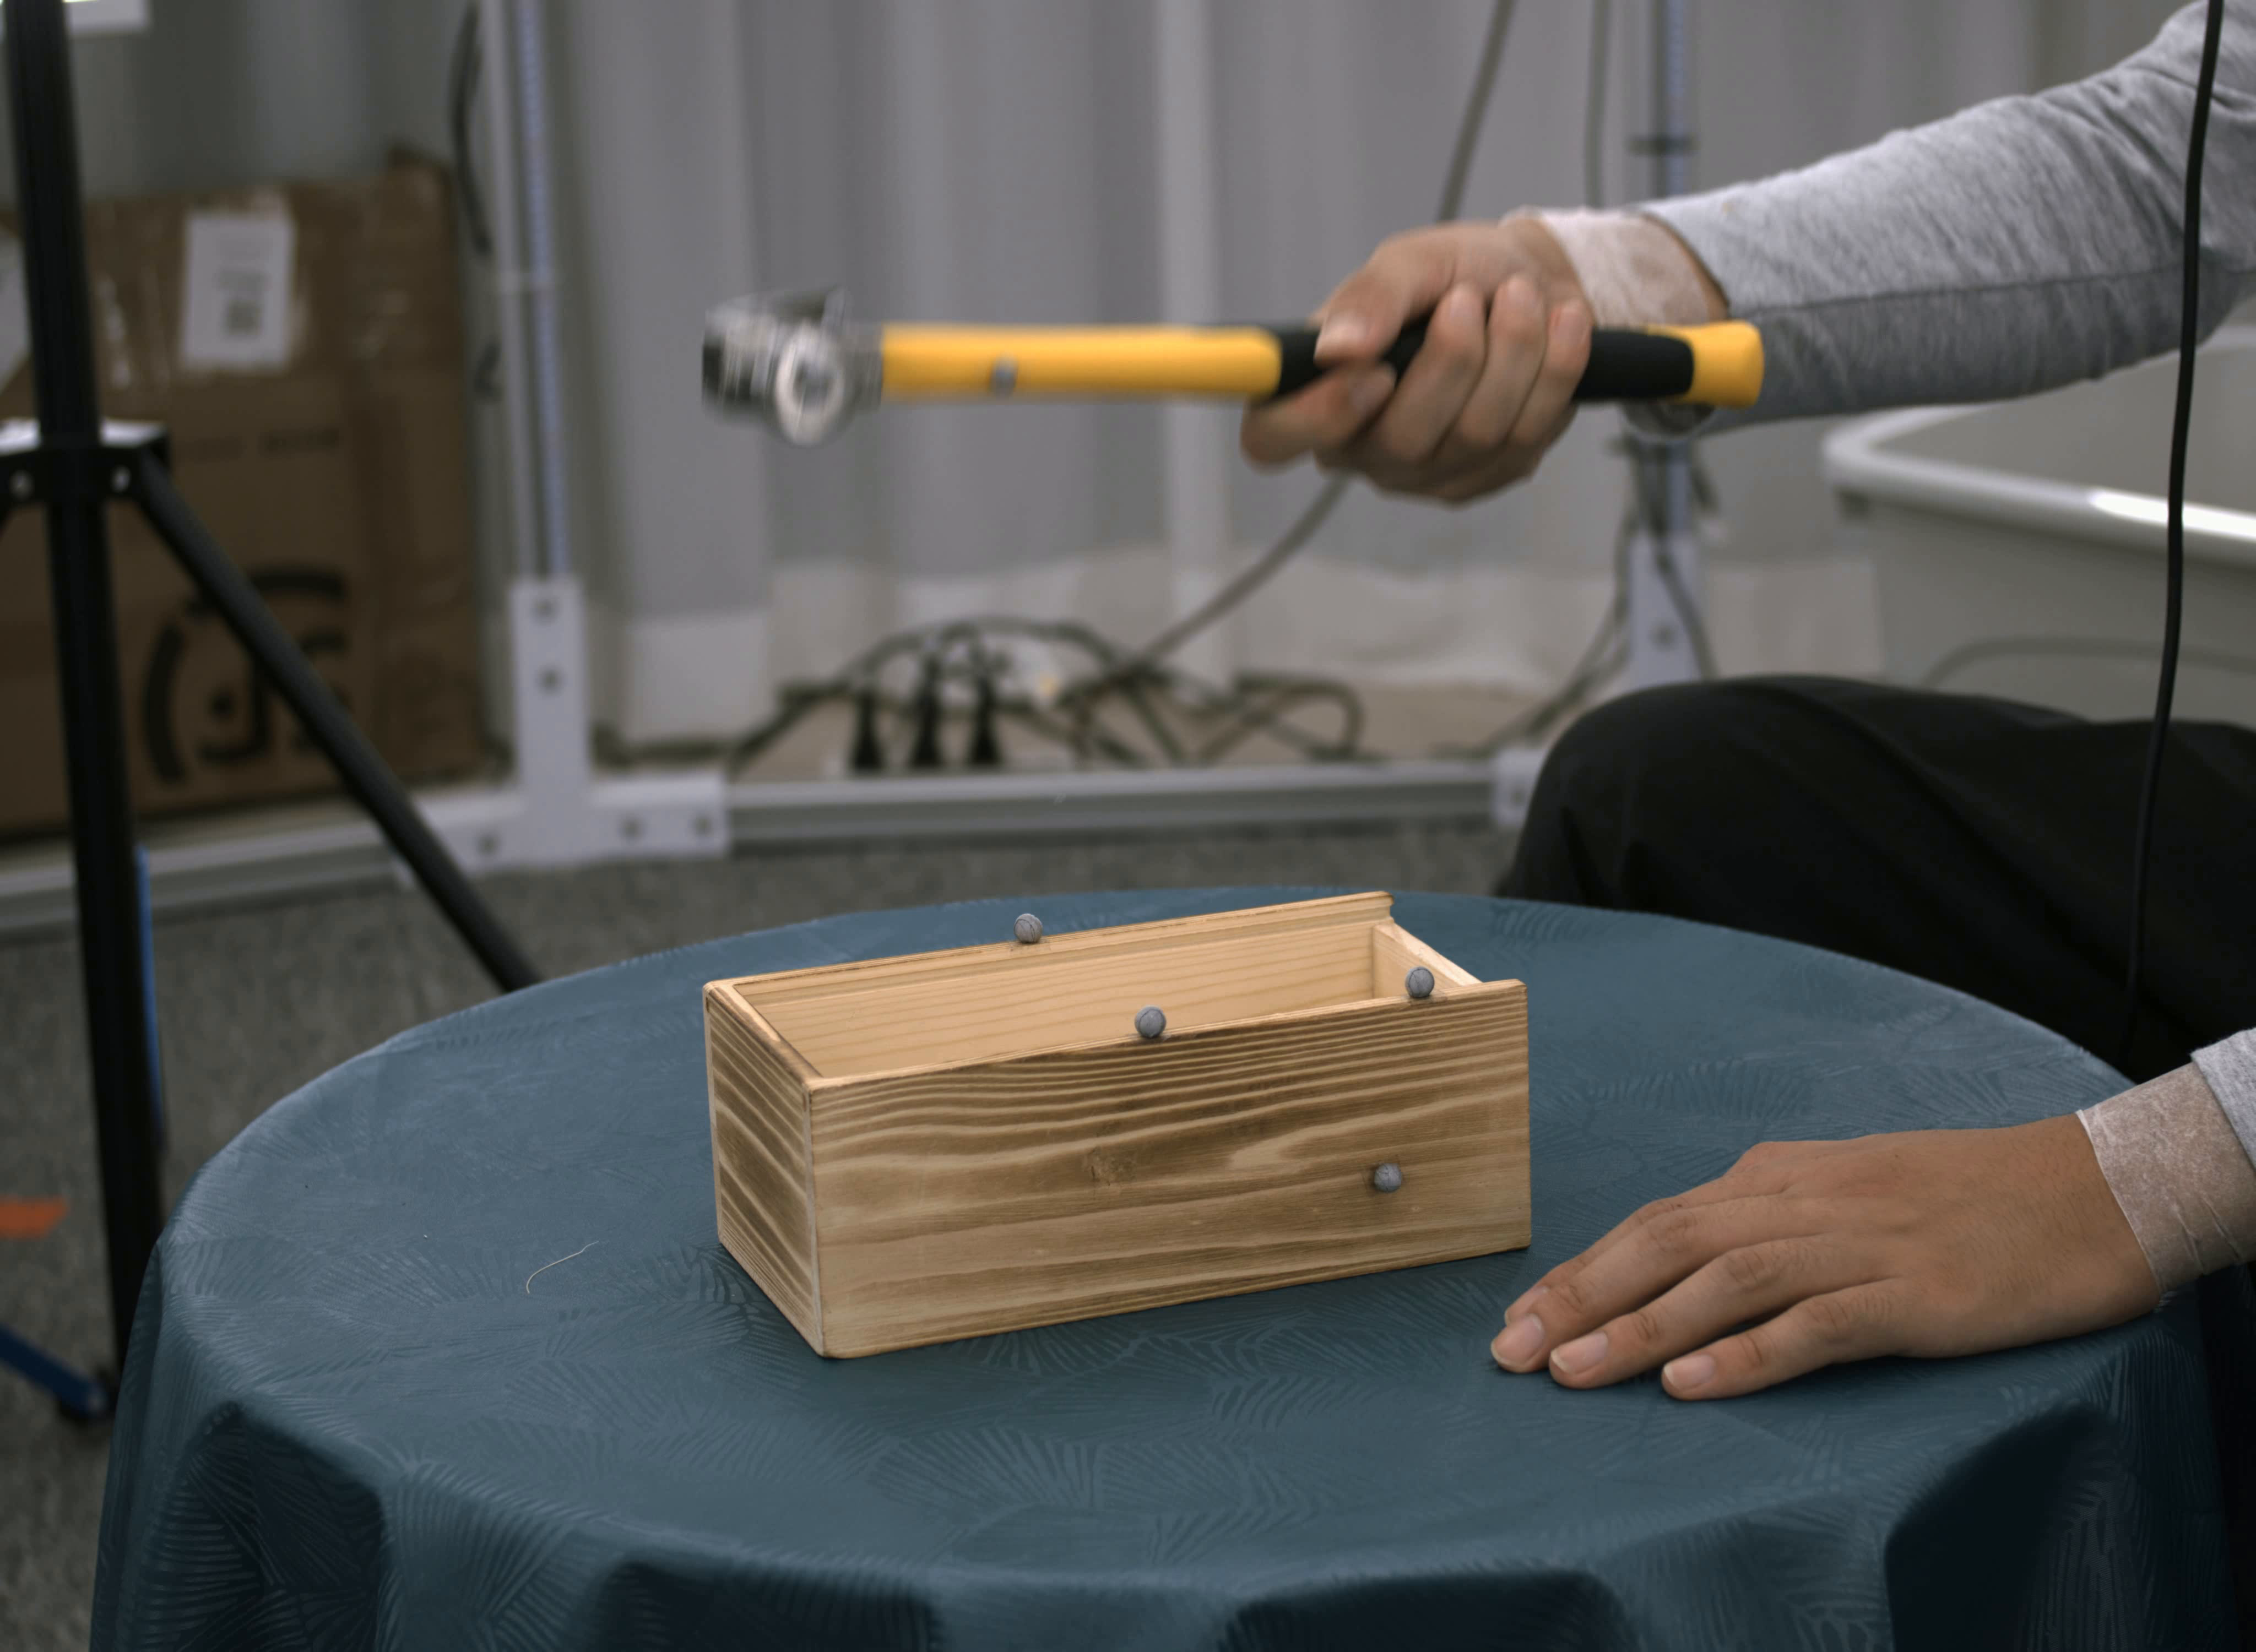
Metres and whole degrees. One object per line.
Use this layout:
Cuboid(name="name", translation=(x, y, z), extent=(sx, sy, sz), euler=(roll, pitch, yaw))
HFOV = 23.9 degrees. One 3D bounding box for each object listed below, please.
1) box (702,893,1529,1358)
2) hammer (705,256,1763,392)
Cuboid(name="box", translation=(-0.004, 0.082, 1.503), extent=(0.208, 0.080, 0.109), euler=(-8, 16, -17))
Cuboid(name="hammer", translation=(0.036, -0.150, 1.624), extent=(0.332, 0.032, 0.133), euler=(0, 8, -16))
